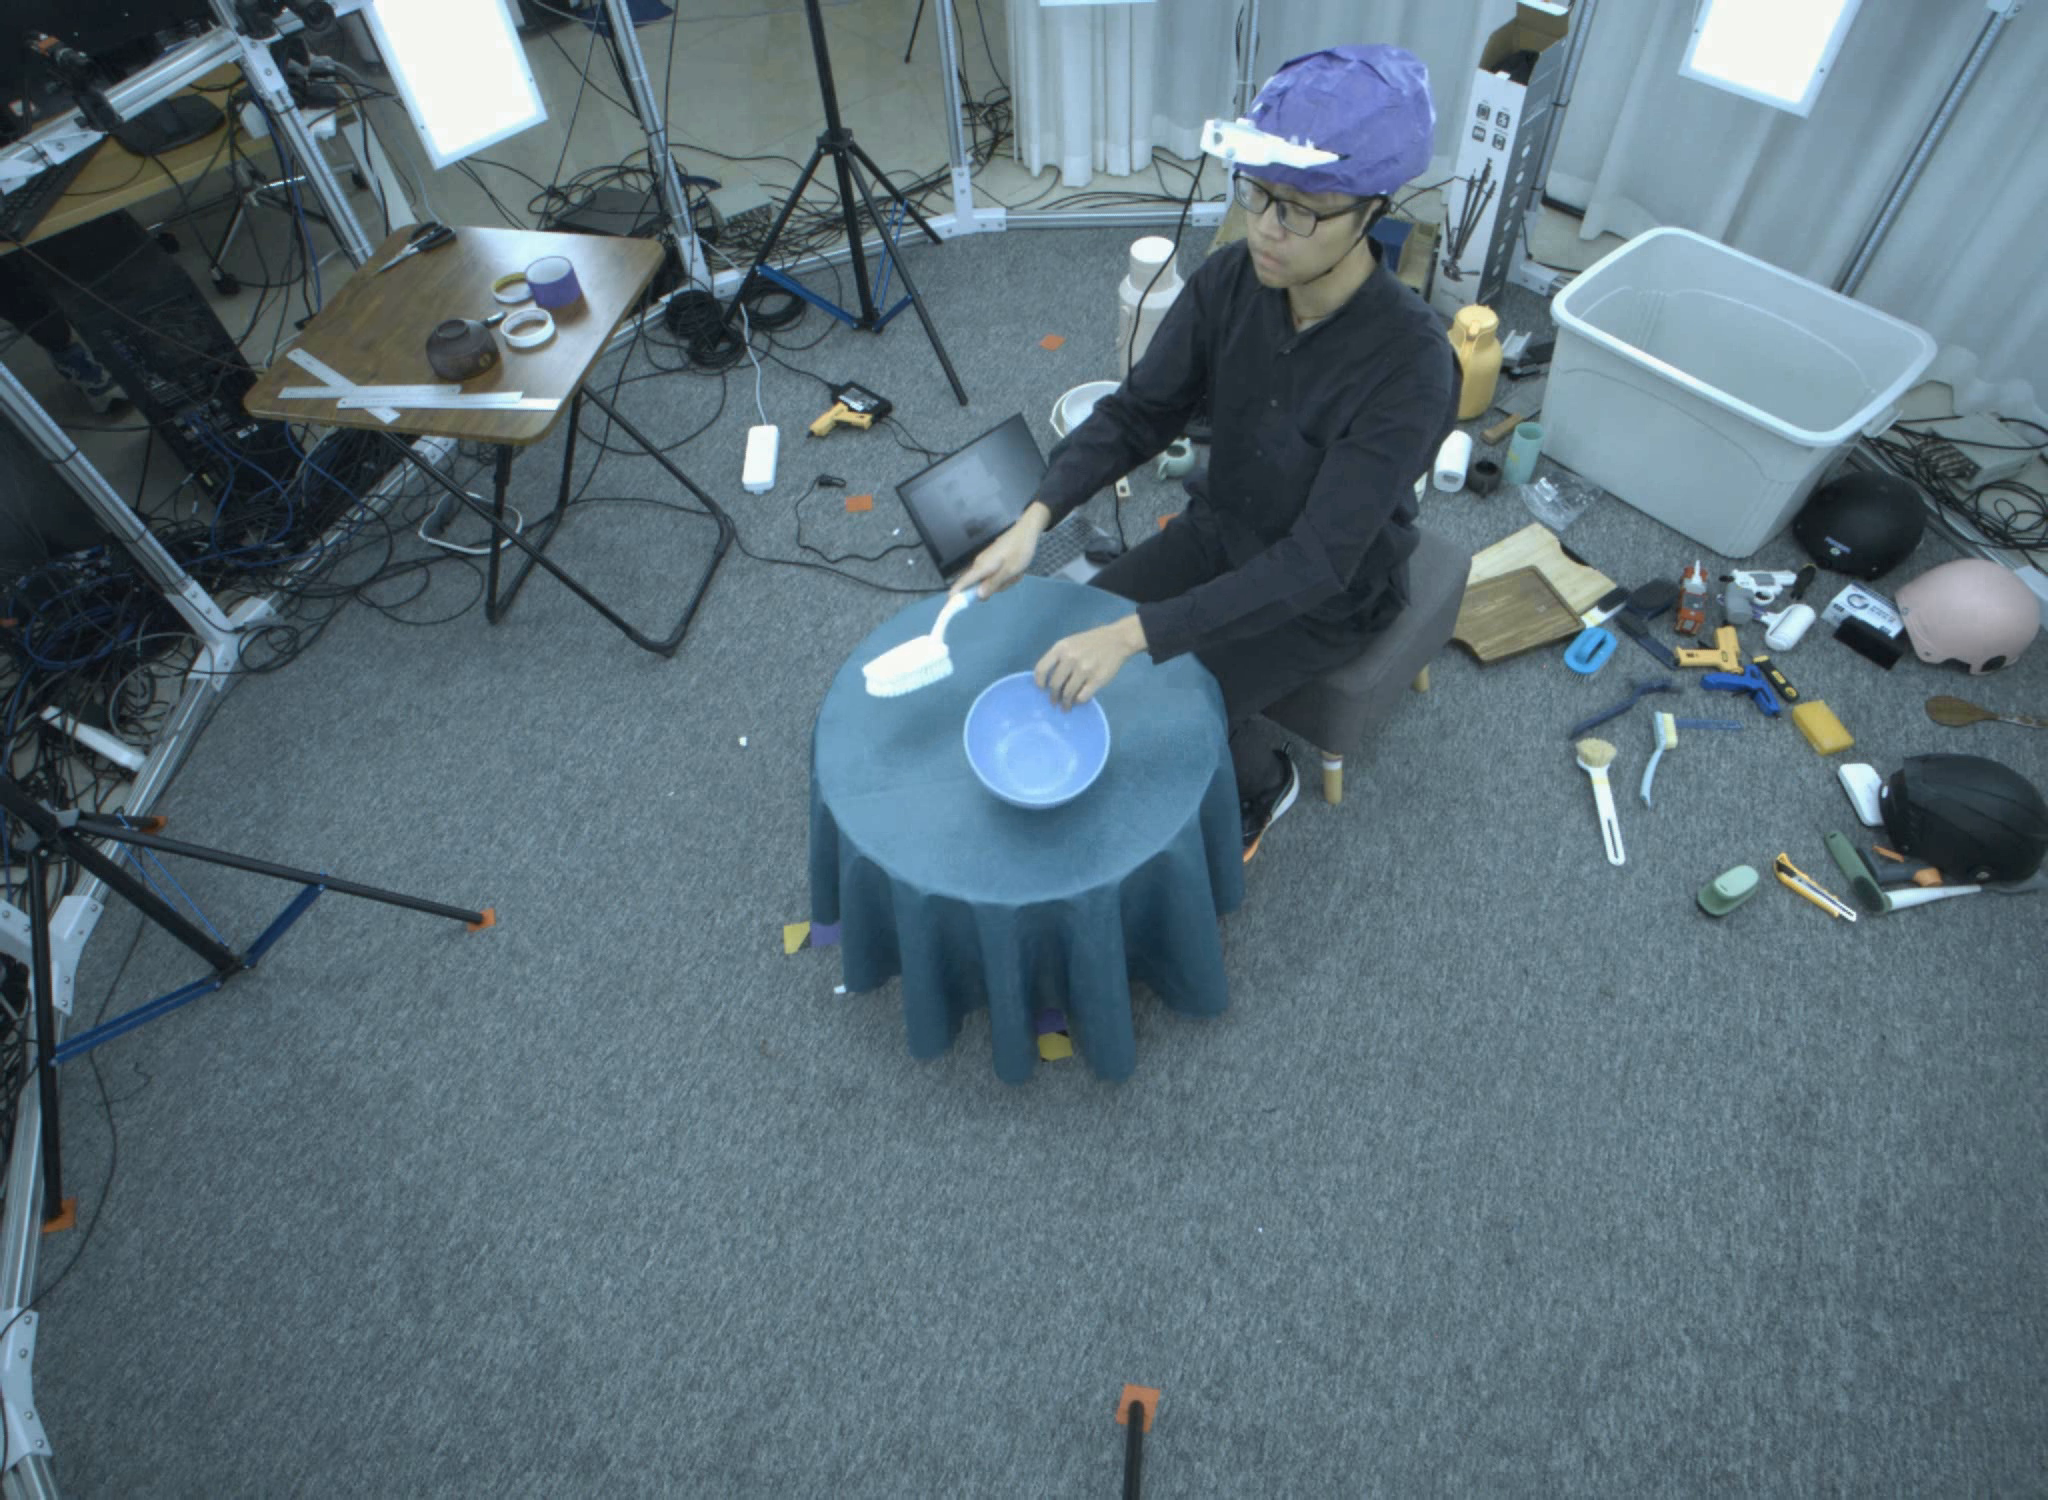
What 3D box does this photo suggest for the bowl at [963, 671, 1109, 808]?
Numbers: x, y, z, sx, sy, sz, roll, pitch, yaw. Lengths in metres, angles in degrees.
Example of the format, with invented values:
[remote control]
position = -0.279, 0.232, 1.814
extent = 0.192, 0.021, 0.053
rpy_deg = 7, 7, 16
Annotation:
[bowl]
position = 0.014, -0.001, 1.689
extent = 0.197, 0.096, 0.195
rpy_deg = 3, 65, -4

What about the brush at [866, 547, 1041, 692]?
[brush]
position = -0.089, -0.178, 1.787
extent = 0.327, 0.084, 0.082
rpy_deg = -38, 81, -20
